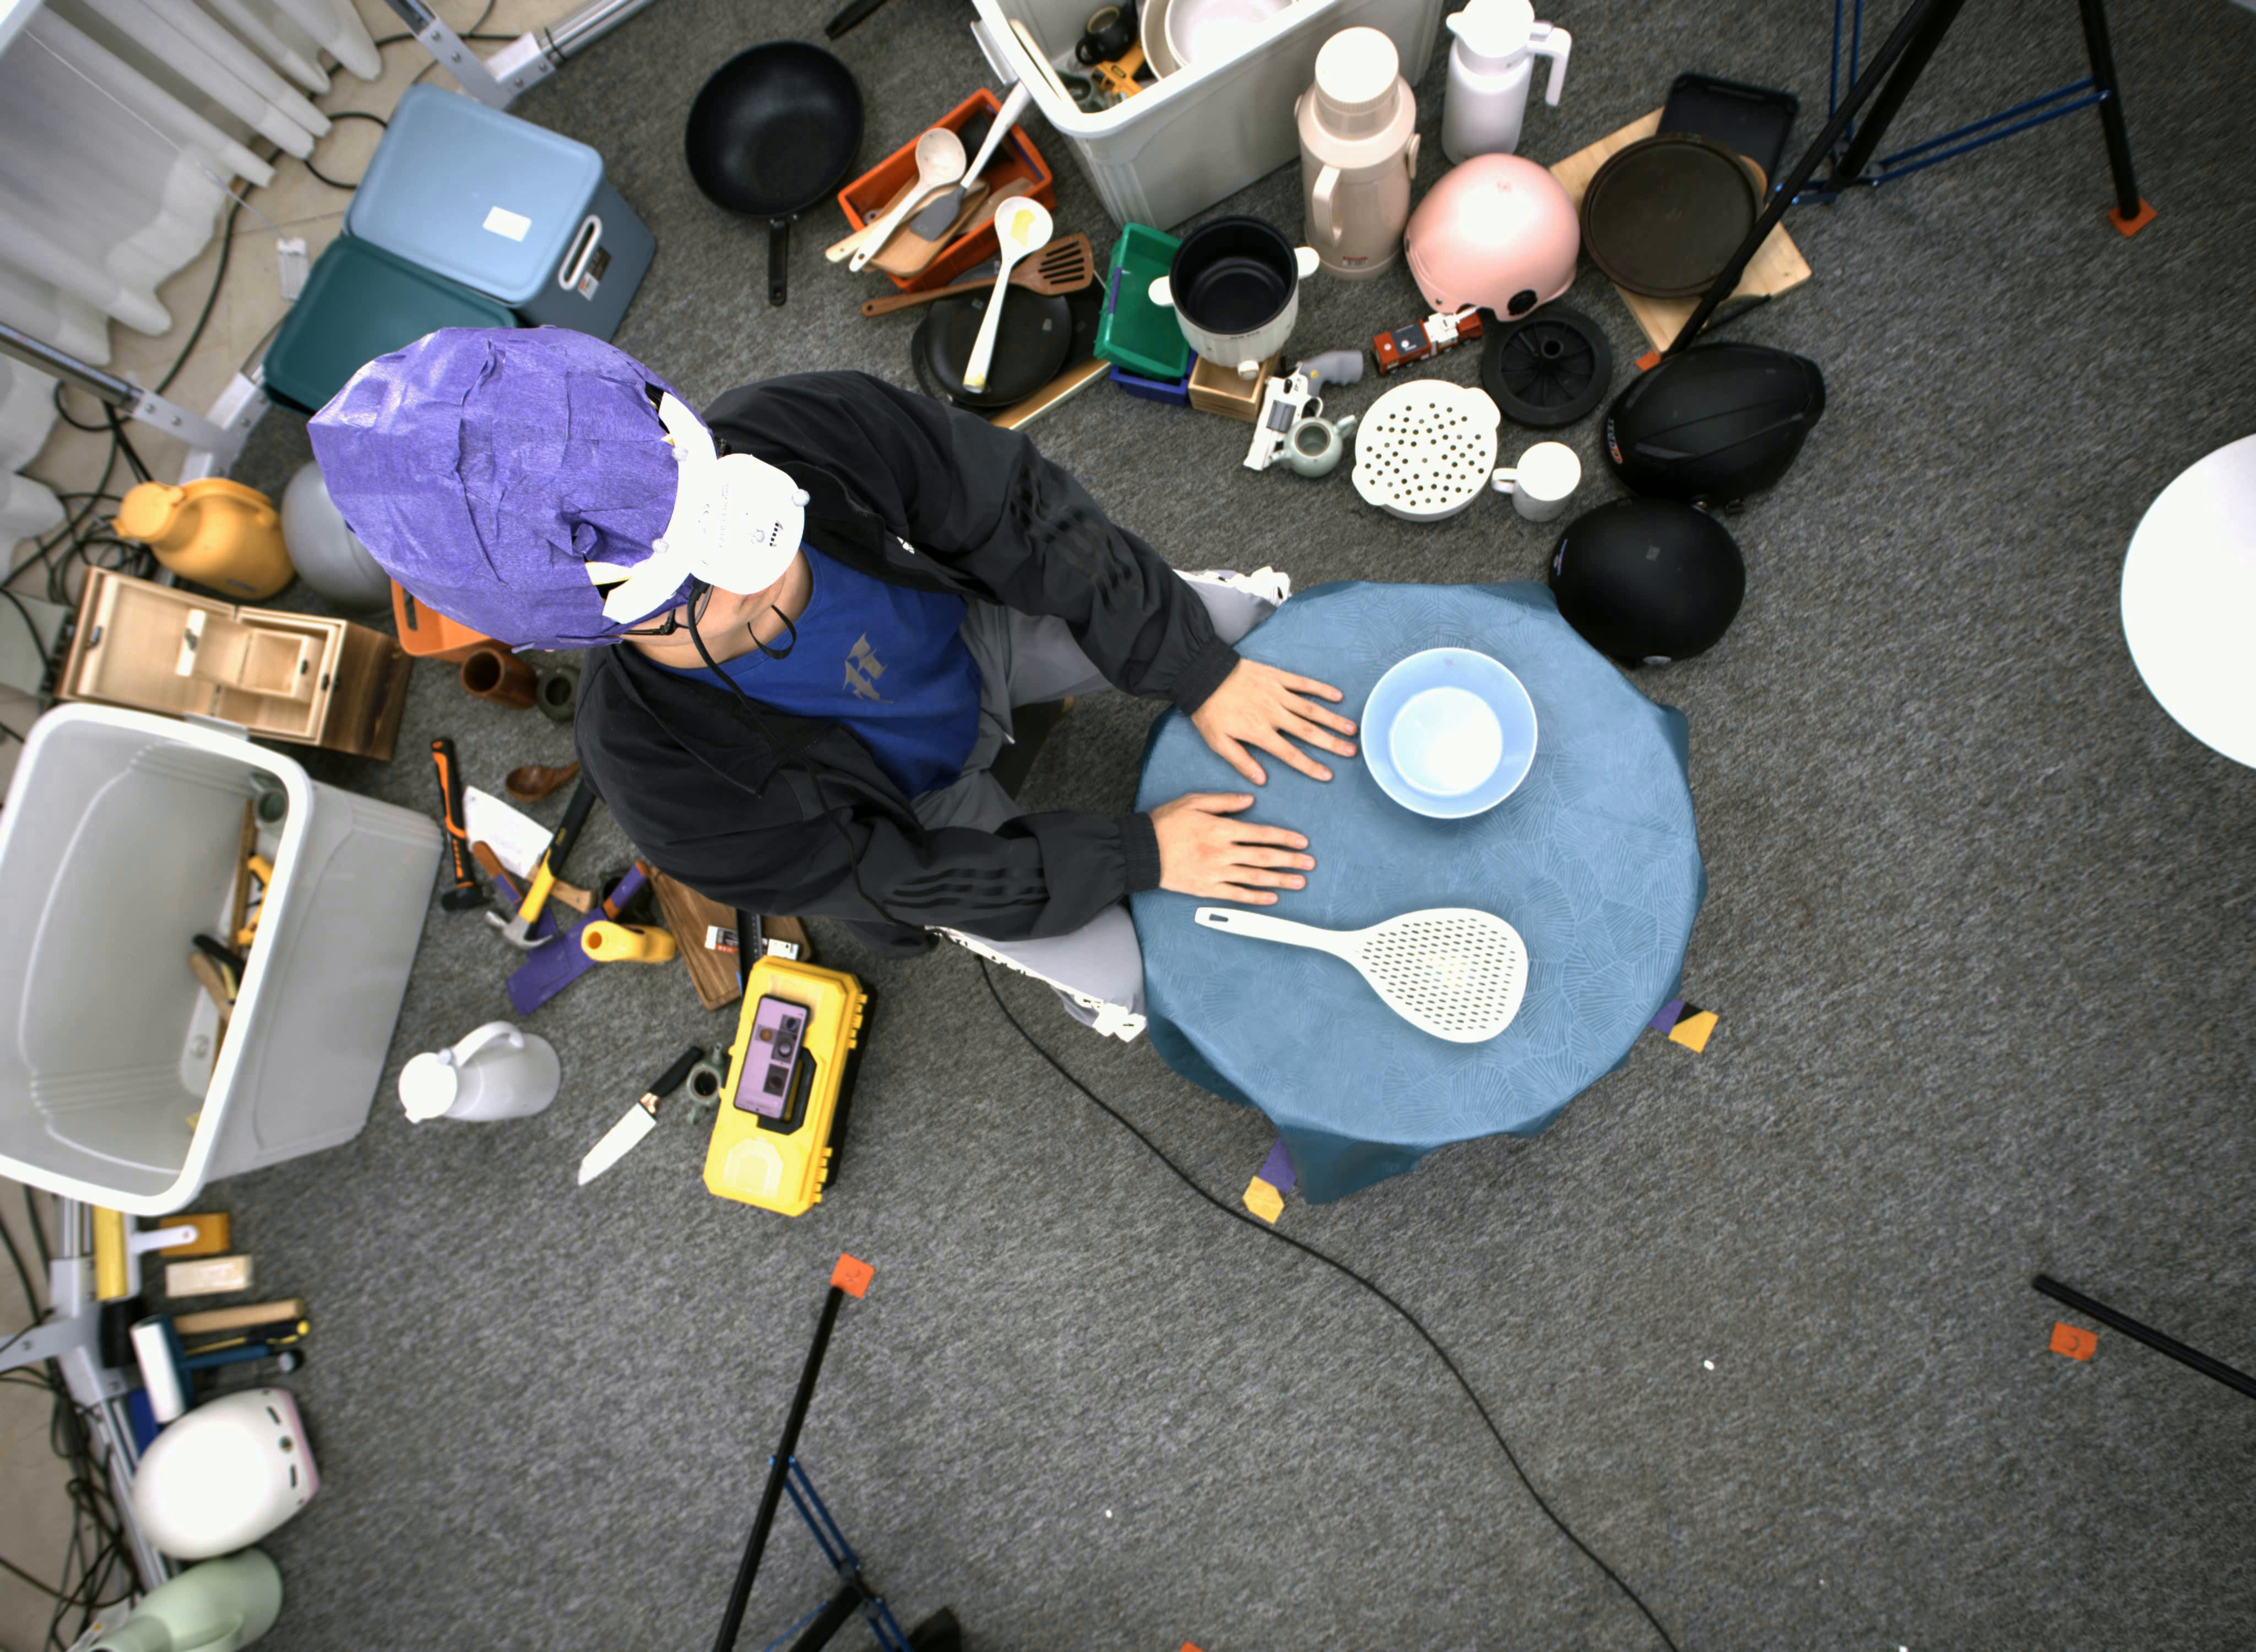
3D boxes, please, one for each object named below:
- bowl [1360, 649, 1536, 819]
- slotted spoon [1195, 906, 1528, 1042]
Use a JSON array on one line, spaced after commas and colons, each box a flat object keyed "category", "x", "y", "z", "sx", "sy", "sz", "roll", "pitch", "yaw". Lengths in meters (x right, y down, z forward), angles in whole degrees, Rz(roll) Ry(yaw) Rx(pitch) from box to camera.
[{"category": "bowl", "x": 0.329, "y": -0.092, "z": 1.419, "sx": 0.177, "sy": 0.070, "sz": 0.175, "roll": -1, "pitch": 86, "yaw": 11}, {"category": "slotted spoon", "x": 0.237, "y": 0.127, "z": 1.440, "sx": 0.348, "sy": 0.050, "sz": 0.137, "roll": 11, "pitch": 92, "yaw": 11}]
